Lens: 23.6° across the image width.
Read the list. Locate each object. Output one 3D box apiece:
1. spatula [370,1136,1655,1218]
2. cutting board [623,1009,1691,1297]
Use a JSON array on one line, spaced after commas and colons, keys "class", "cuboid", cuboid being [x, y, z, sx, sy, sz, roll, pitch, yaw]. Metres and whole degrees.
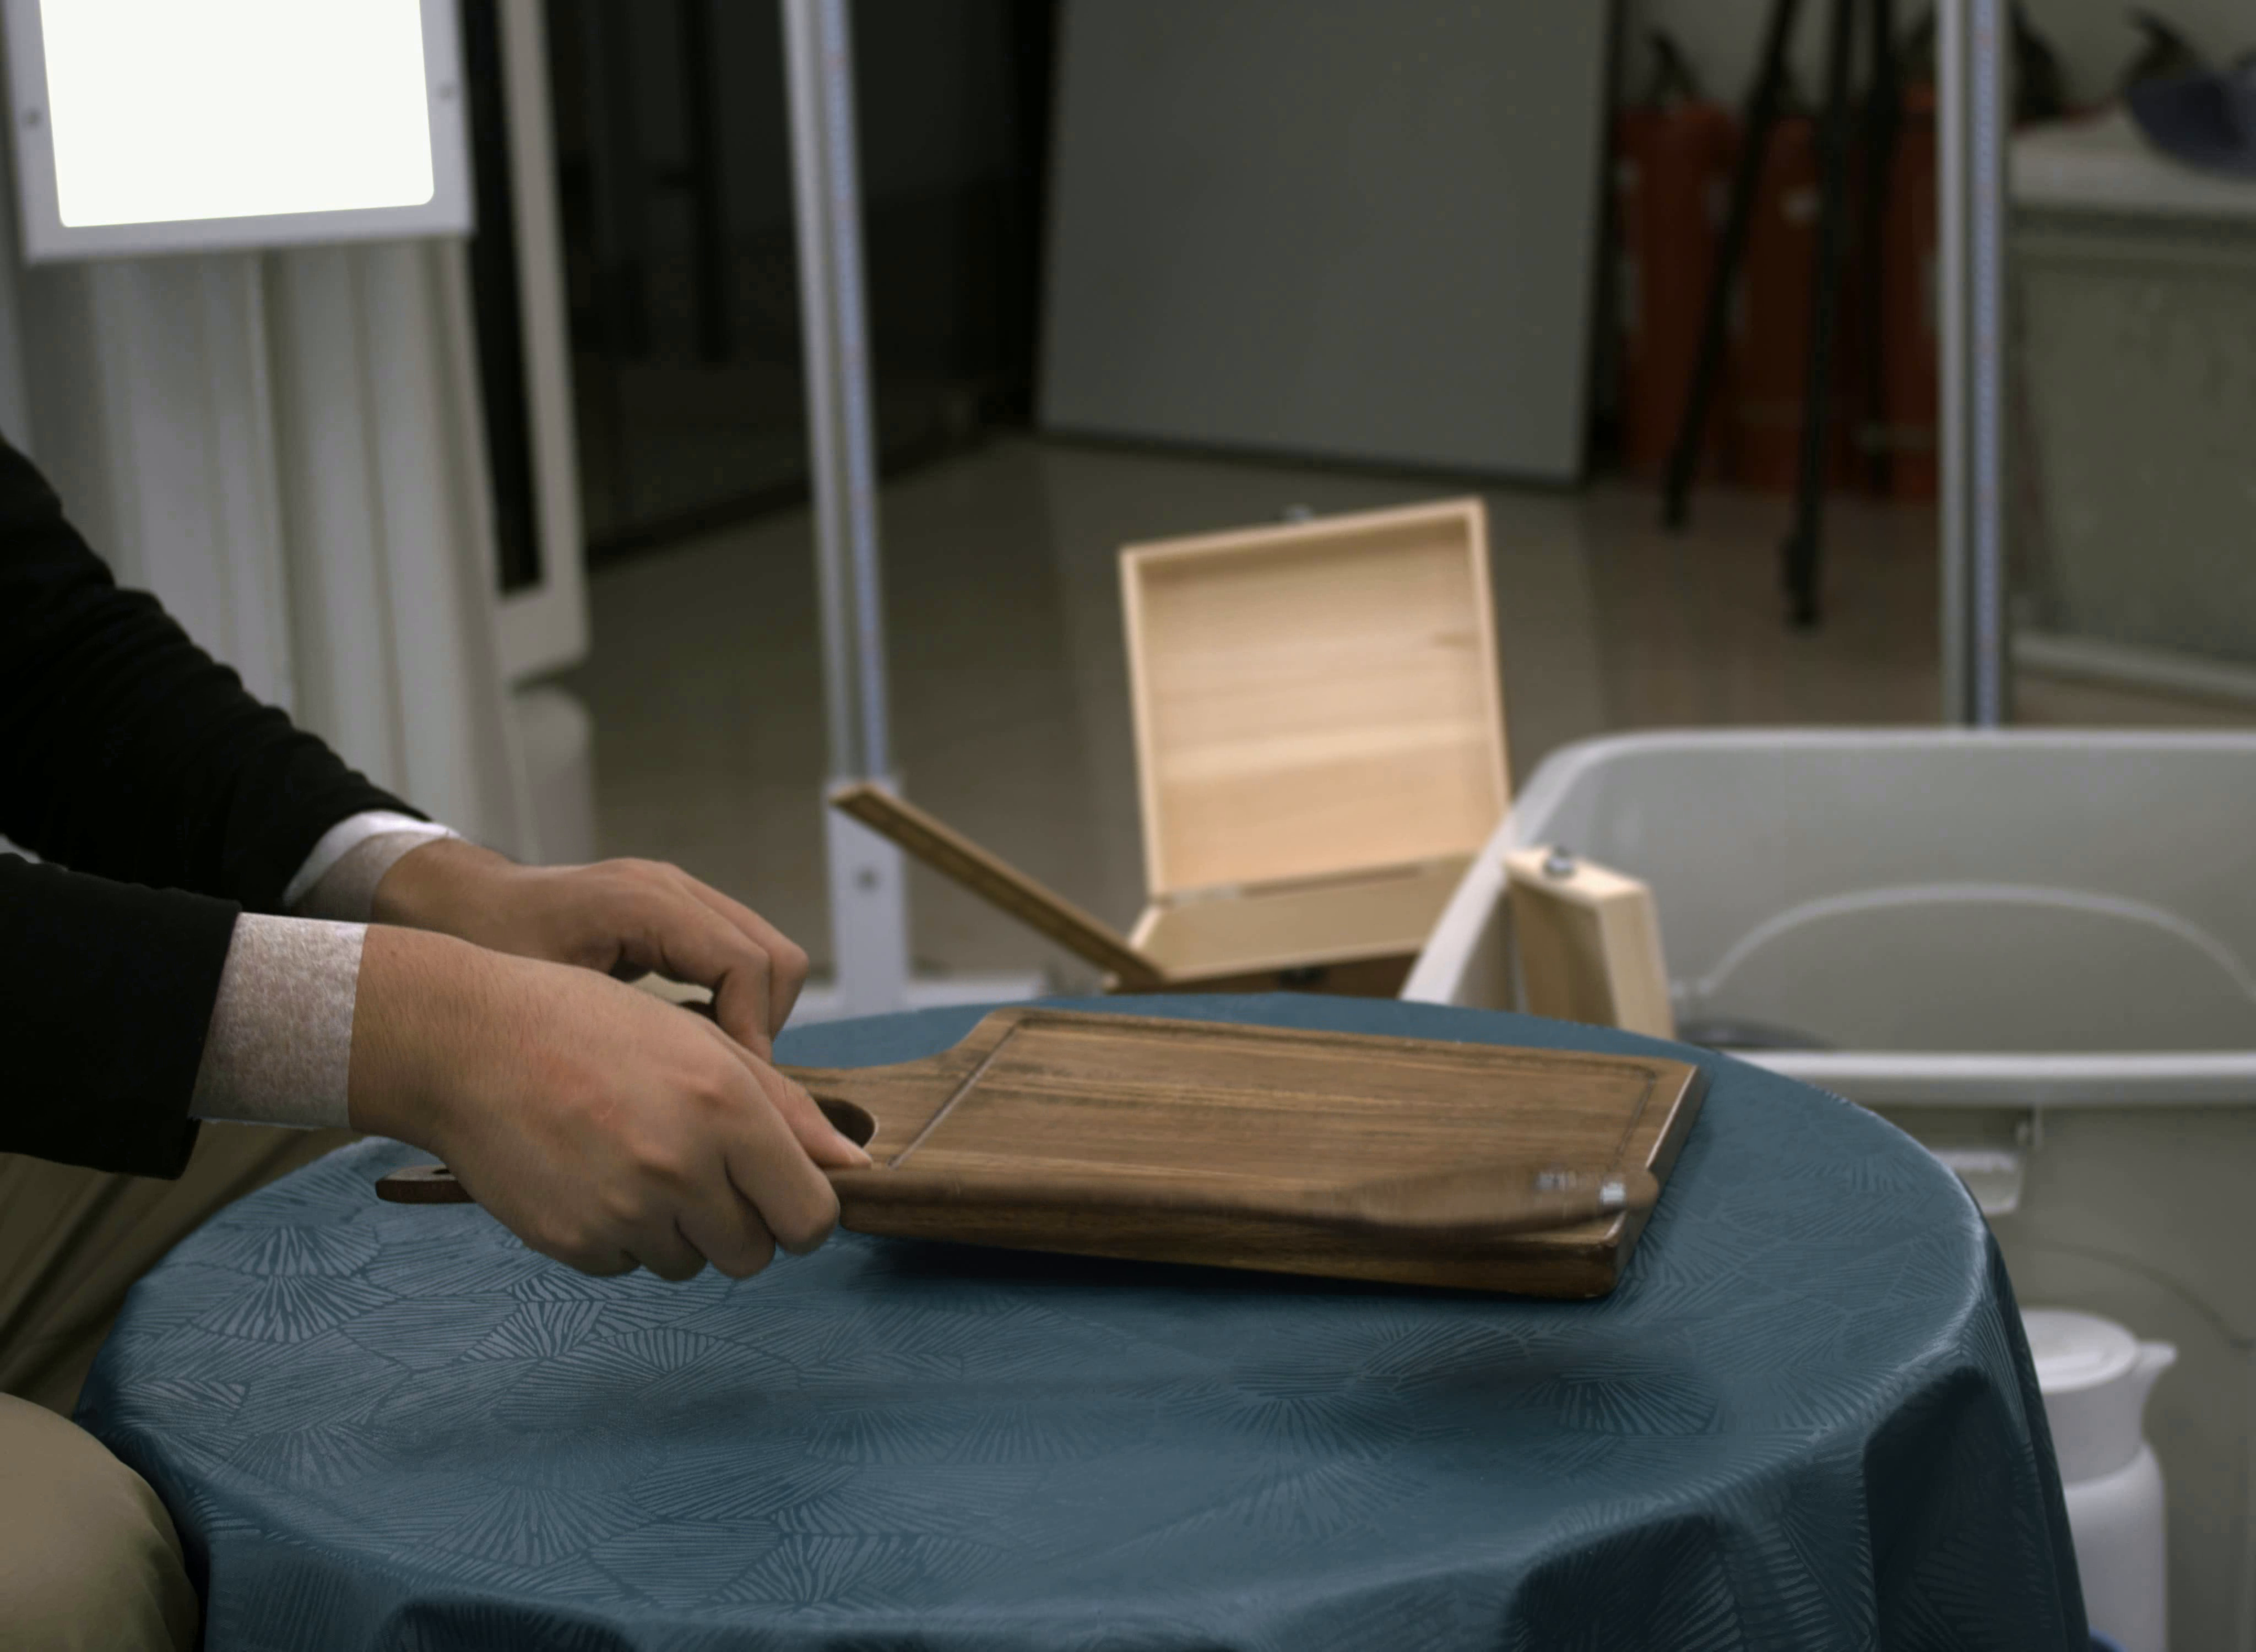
[{"class": "spatula", "cuboid": [-0.036, 0.103, 1.590, 0.382, 0.016, 0.096, 0, 5, 7]}, {"class": "cutting board", "cuboid": [0.002, 0.100, 1.763, 0.350, 0.023, 0.199, 4, 15, 14]}]
